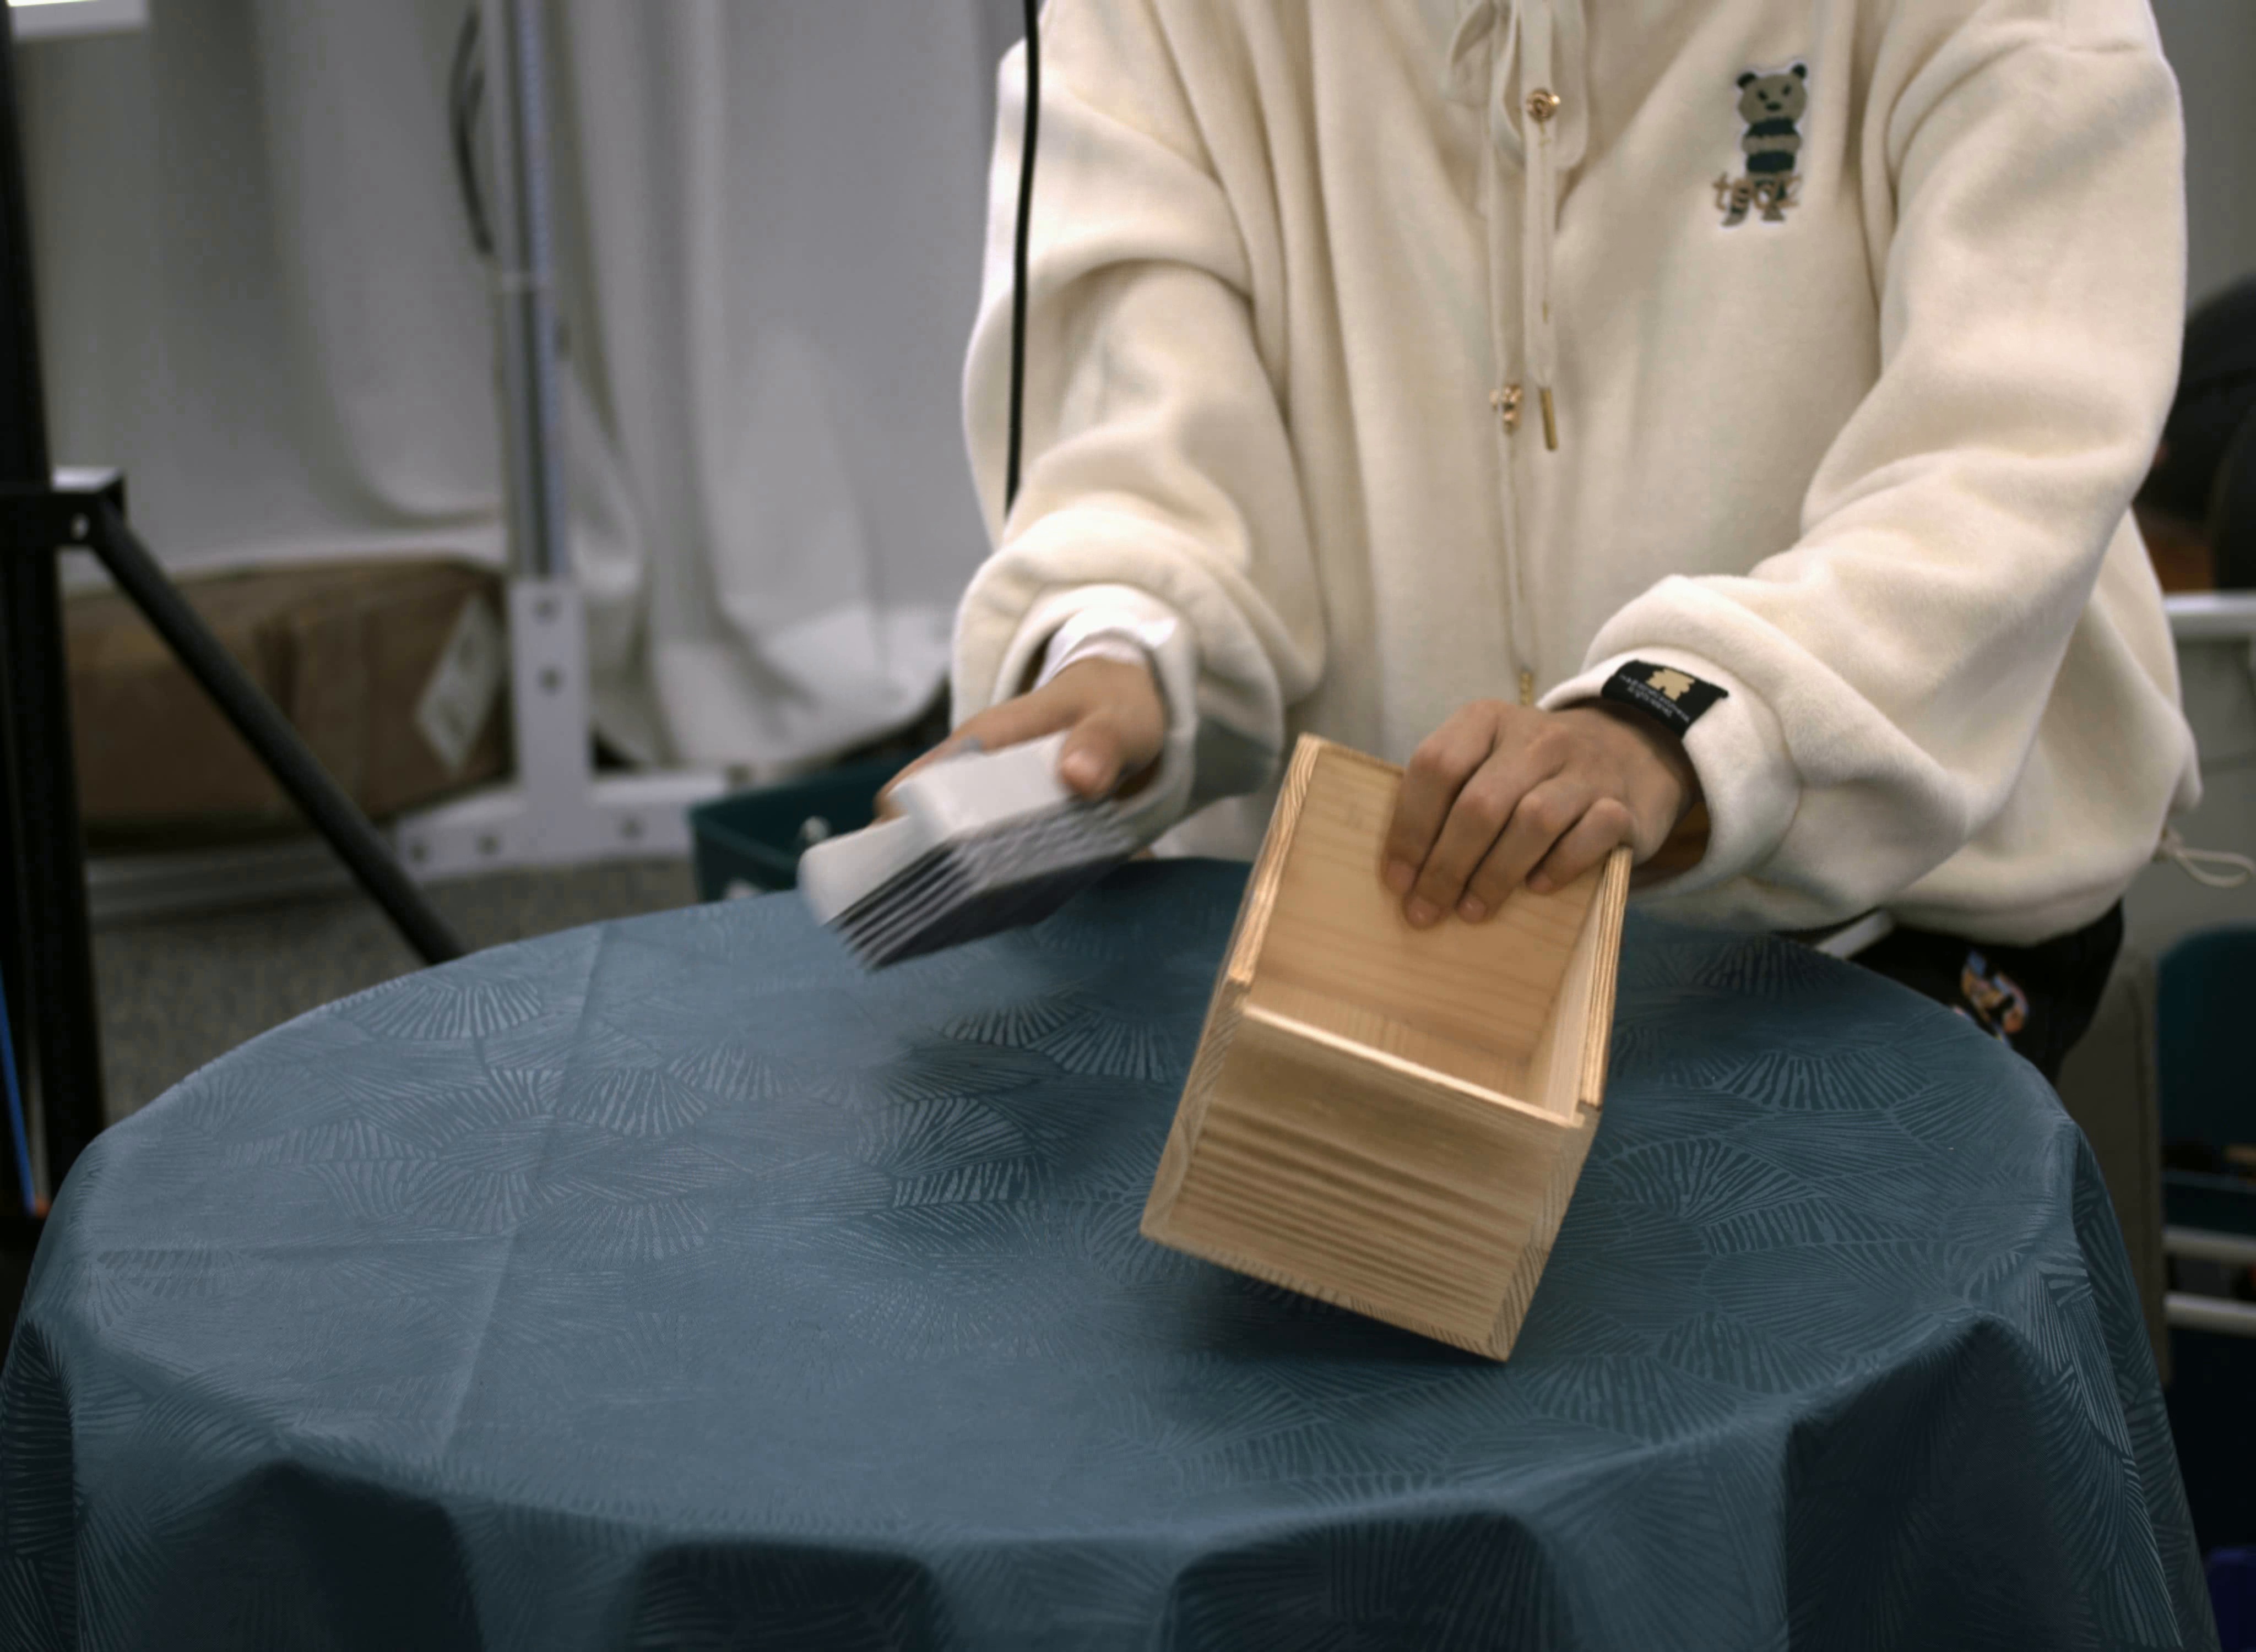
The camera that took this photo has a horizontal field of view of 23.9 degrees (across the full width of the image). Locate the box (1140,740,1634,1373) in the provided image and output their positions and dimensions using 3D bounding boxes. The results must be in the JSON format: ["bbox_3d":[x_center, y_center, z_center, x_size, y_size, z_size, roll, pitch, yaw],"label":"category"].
[{"bbox_3d":[0.077,0.060,1.496,0.107,0.080,0.211,18,21,1],"label":"box"}]

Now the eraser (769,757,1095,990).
[{"bbox_3d":[-0.056,0.014,1.624,0.050,0.047,0.132,-34,-5,19],"label":"eraser"}]
